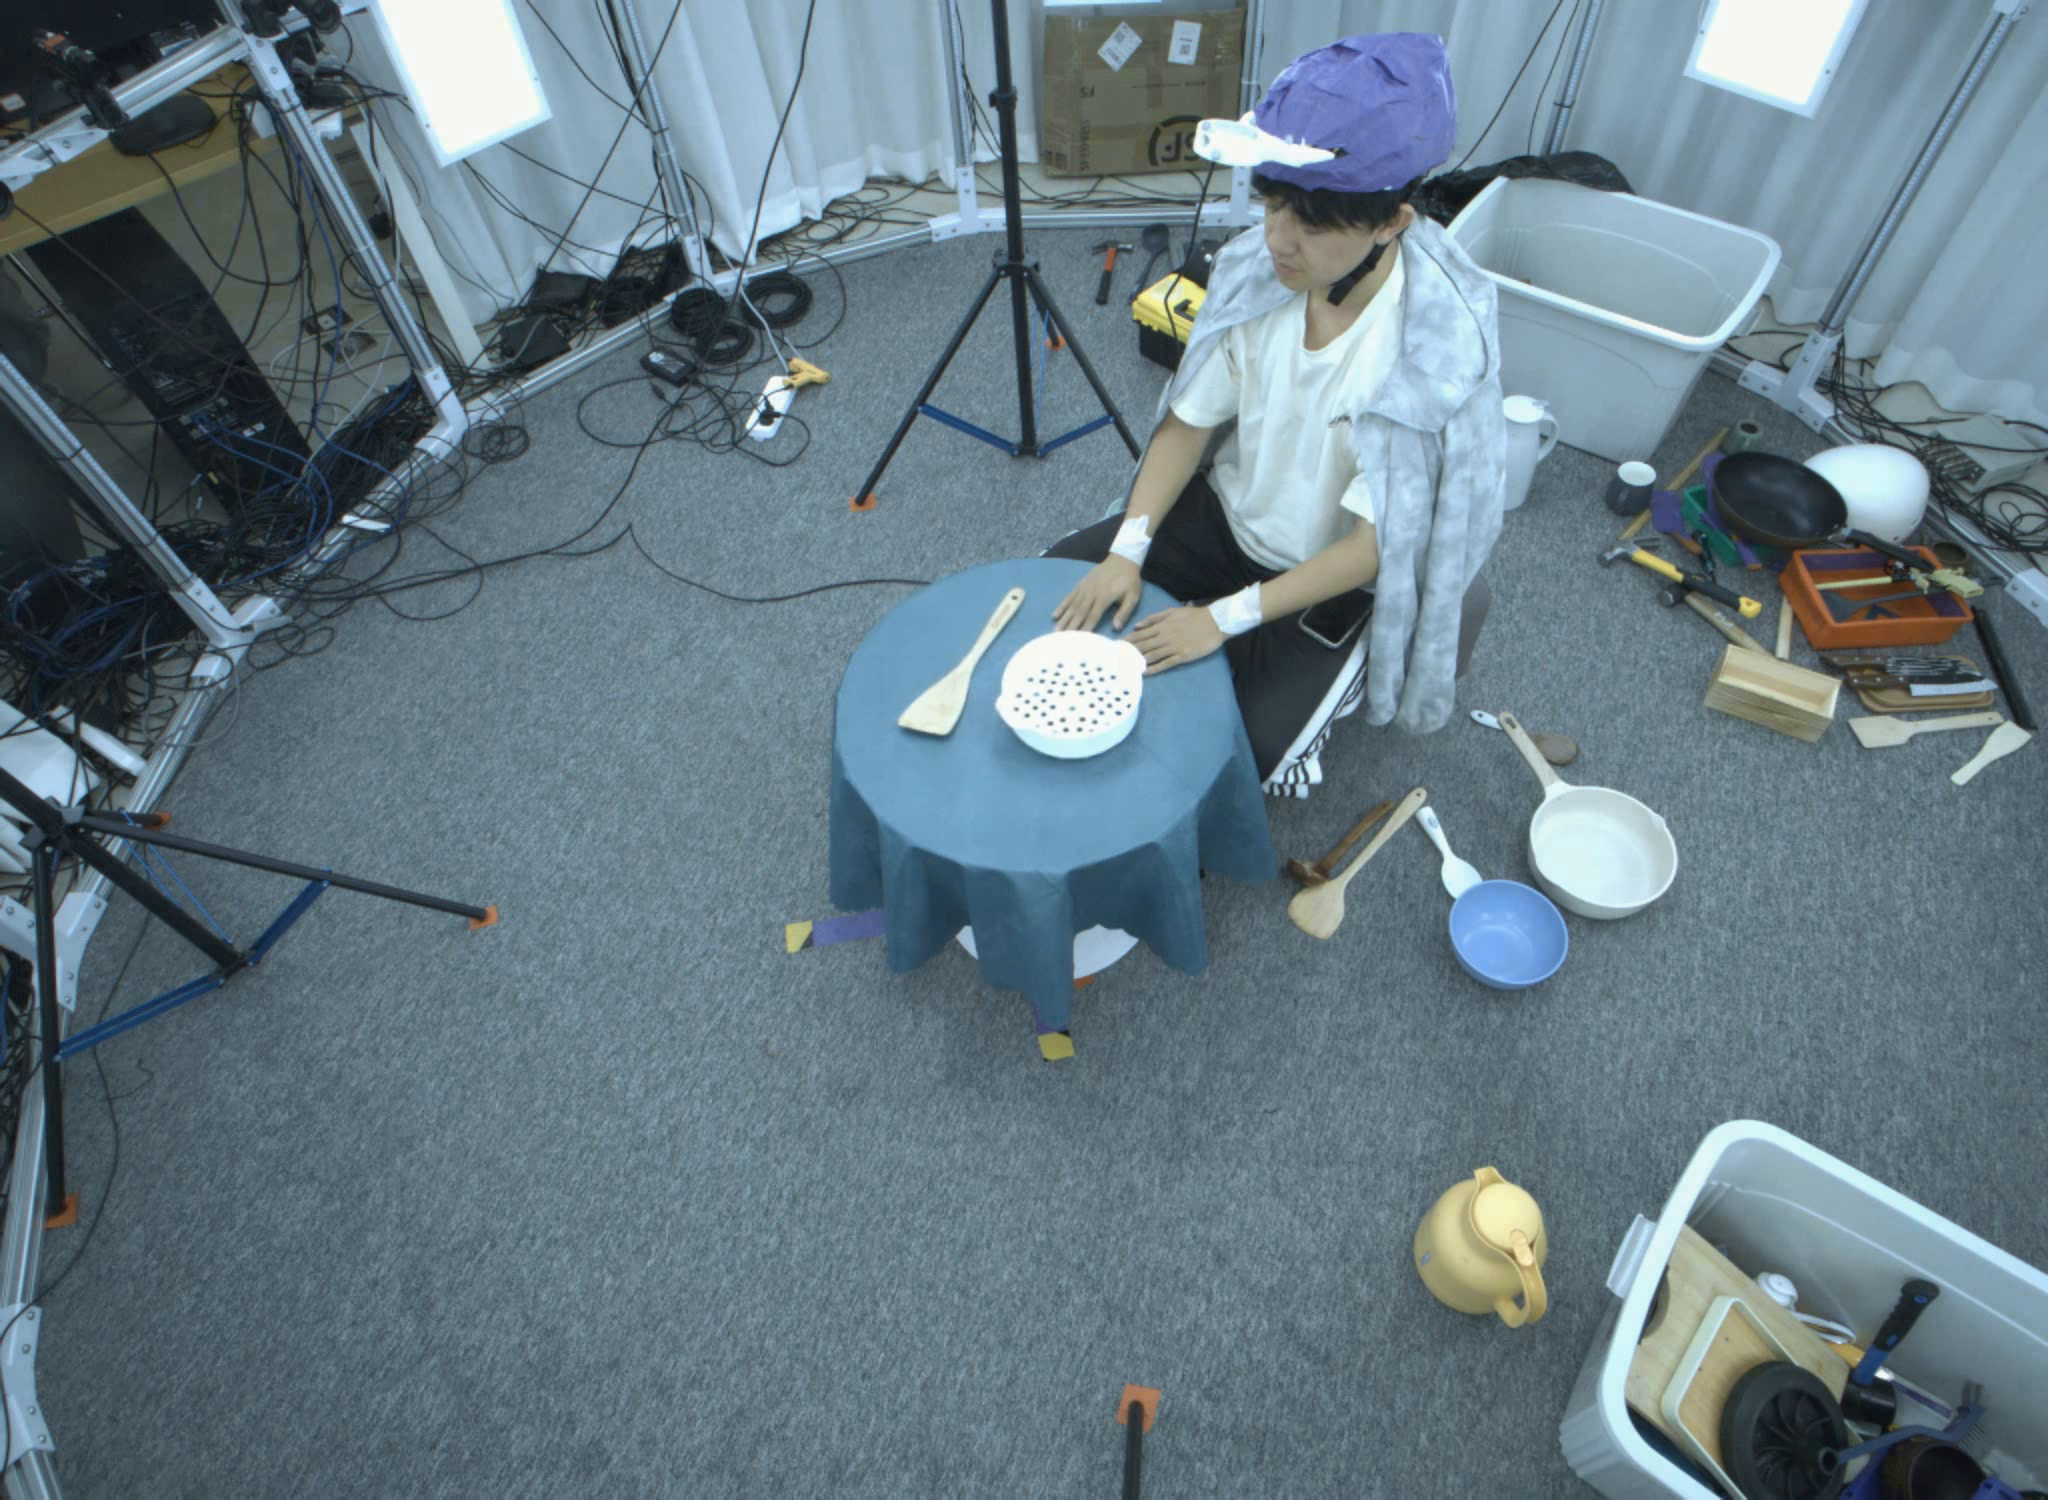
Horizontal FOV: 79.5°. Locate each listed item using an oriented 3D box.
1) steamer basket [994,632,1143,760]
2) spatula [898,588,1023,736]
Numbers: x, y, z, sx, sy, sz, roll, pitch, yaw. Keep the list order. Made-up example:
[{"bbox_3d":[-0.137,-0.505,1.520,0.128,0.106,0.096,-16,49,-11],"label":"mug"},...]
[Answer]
[{"bbox_3d":[0.066,-0.077,1.802,0.232,0.070,0.198,-26,59,-16],"label":"steamer basket"},{"bbox_3d":[-0.081,-0.140,1.881,0.079,0.017,0.328,22,58,16],"label":"spatula"}]
